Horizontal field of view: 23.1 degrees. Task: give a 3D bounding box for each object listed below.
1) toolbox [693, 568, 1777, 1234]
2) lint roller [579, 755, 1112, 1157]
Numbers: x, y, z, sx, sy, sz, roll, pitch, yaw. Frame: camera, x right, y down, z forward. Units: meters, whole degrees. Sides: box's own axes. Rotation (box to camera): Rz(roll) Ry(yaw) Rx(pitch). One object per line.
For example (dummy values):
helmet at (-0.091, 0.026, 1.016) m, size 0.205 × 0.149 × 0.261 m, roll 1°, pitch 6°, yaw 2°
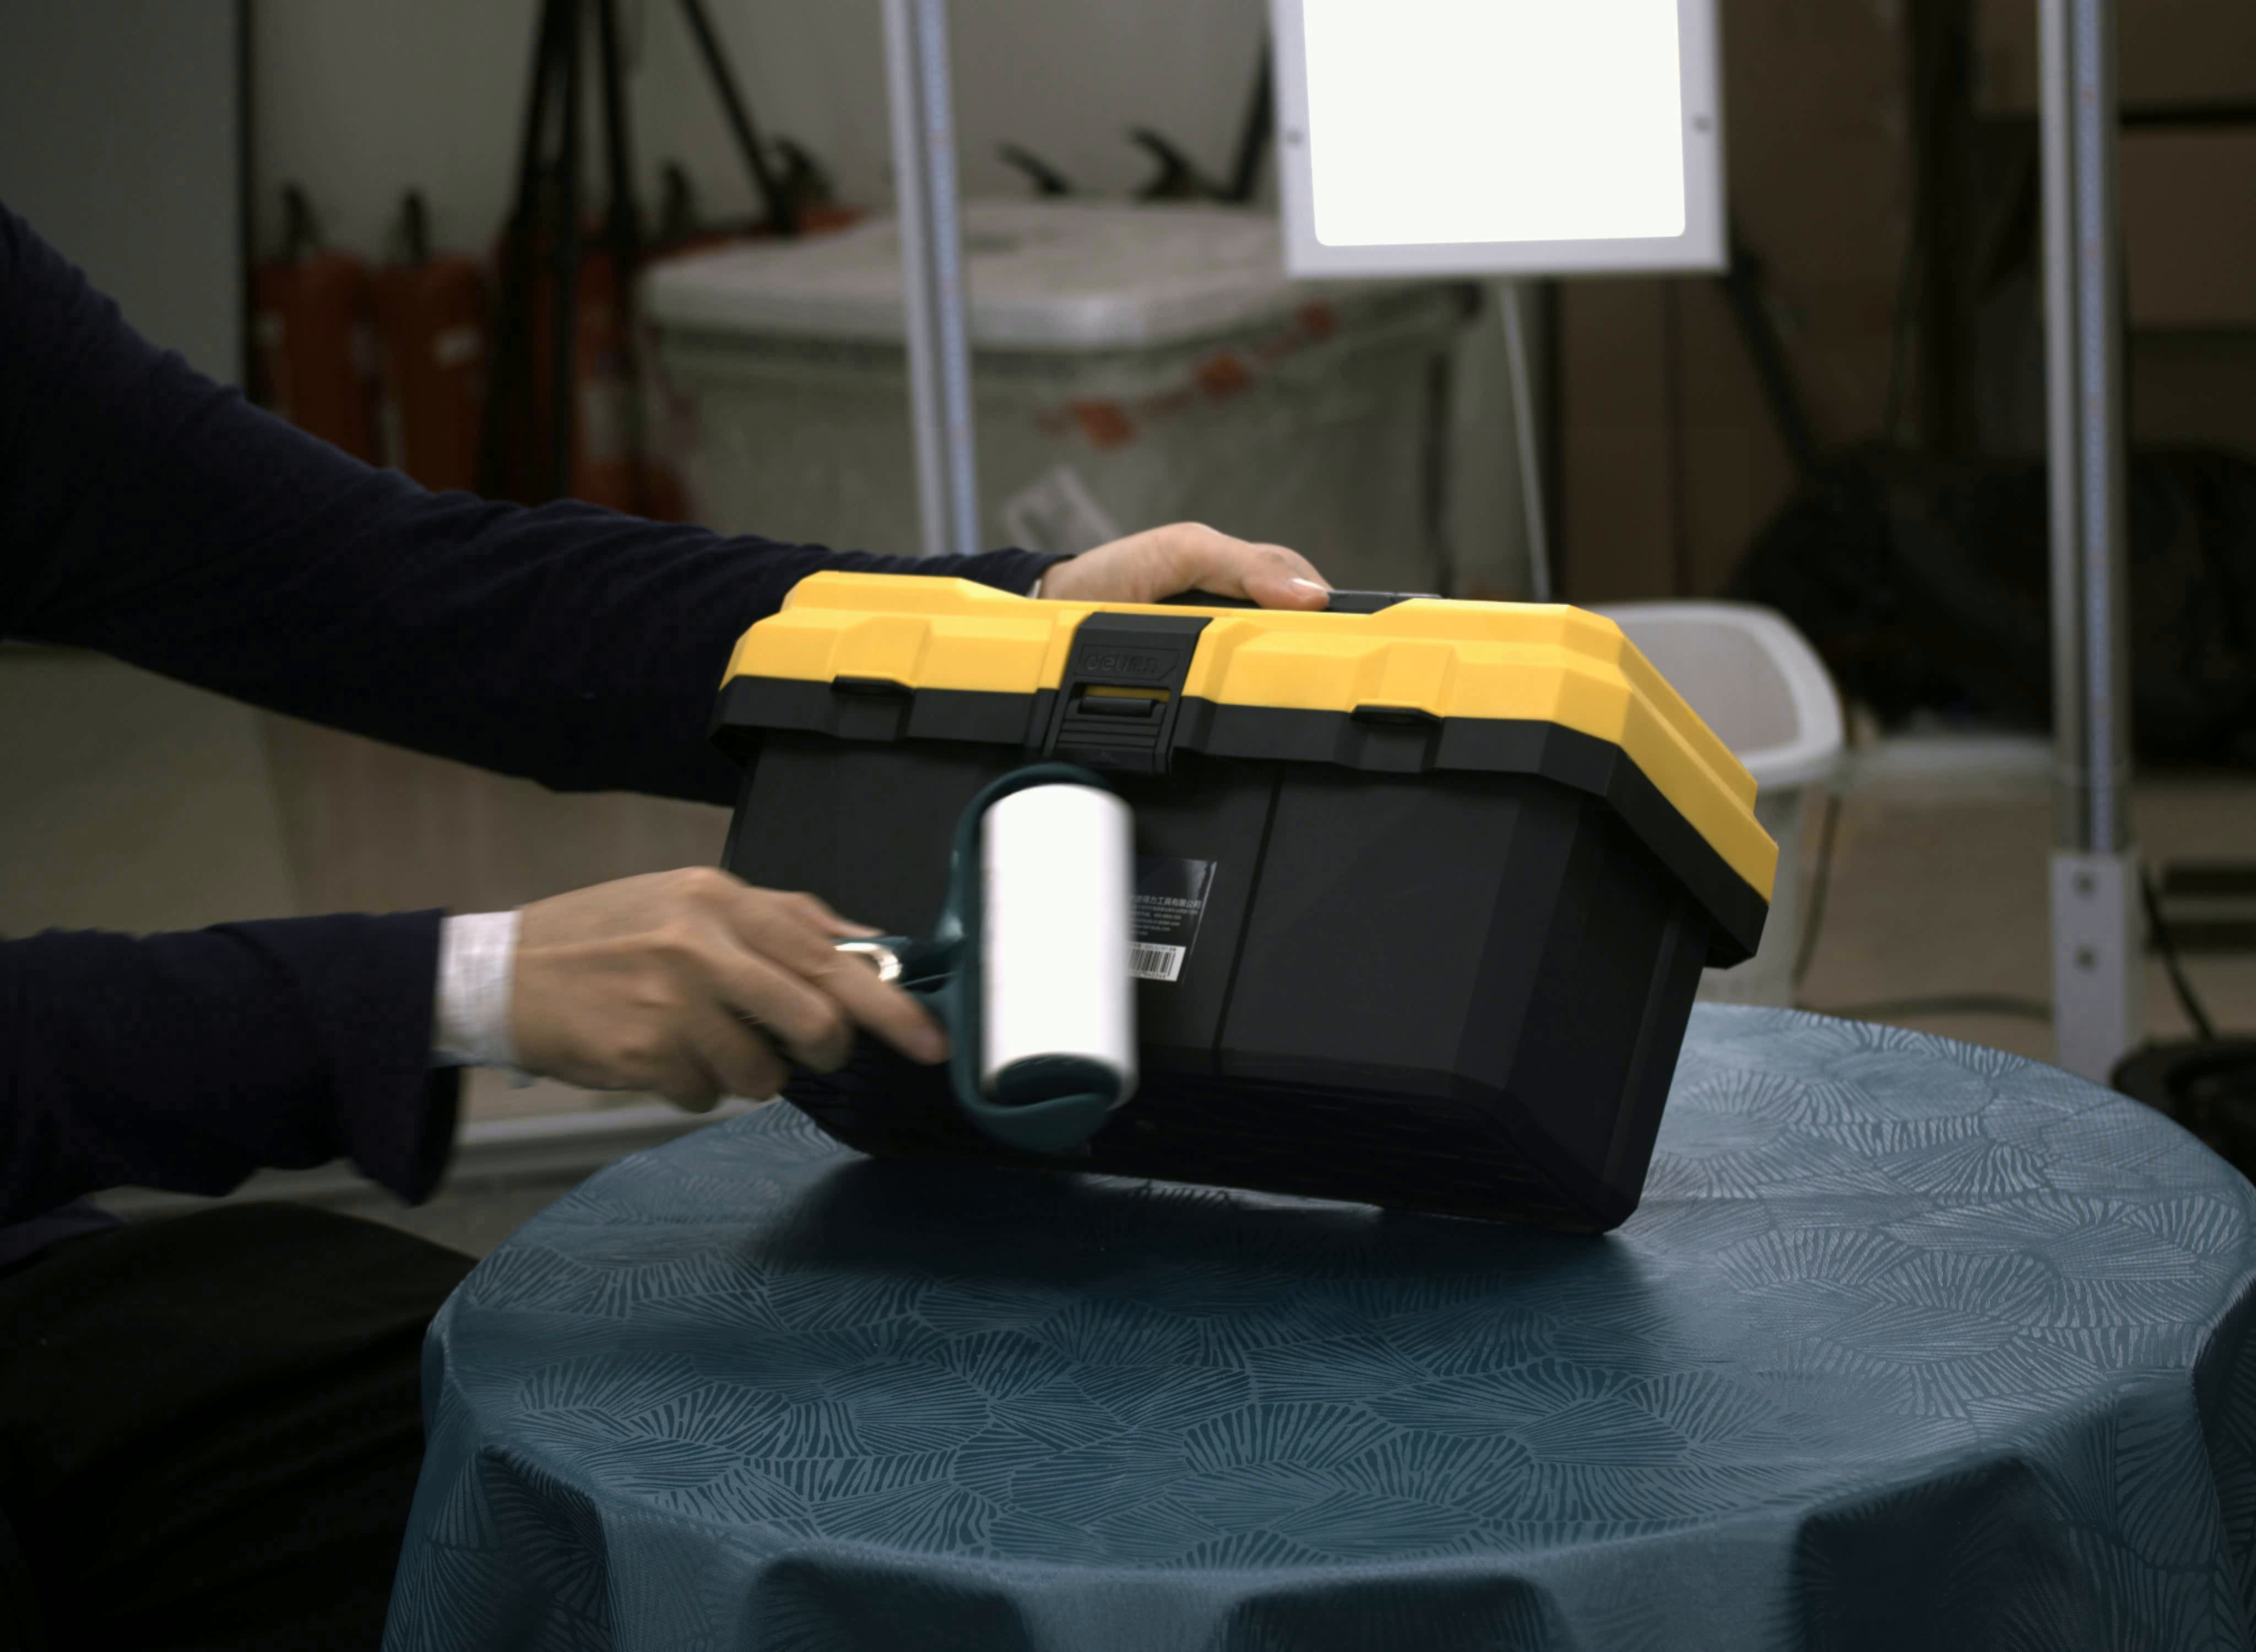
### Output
toolbox at (0.026, 0.023, 1.868) m, size 0.358 × 0.172 × 0.178 m, roll 4°, pitch -22°, yaw 33°
lint roller at (-0.095, 0.049, 1.792) m, size 0.181 × 0.134 × 0.048 m, roll -5°, pitch -31°, yaw 8°
